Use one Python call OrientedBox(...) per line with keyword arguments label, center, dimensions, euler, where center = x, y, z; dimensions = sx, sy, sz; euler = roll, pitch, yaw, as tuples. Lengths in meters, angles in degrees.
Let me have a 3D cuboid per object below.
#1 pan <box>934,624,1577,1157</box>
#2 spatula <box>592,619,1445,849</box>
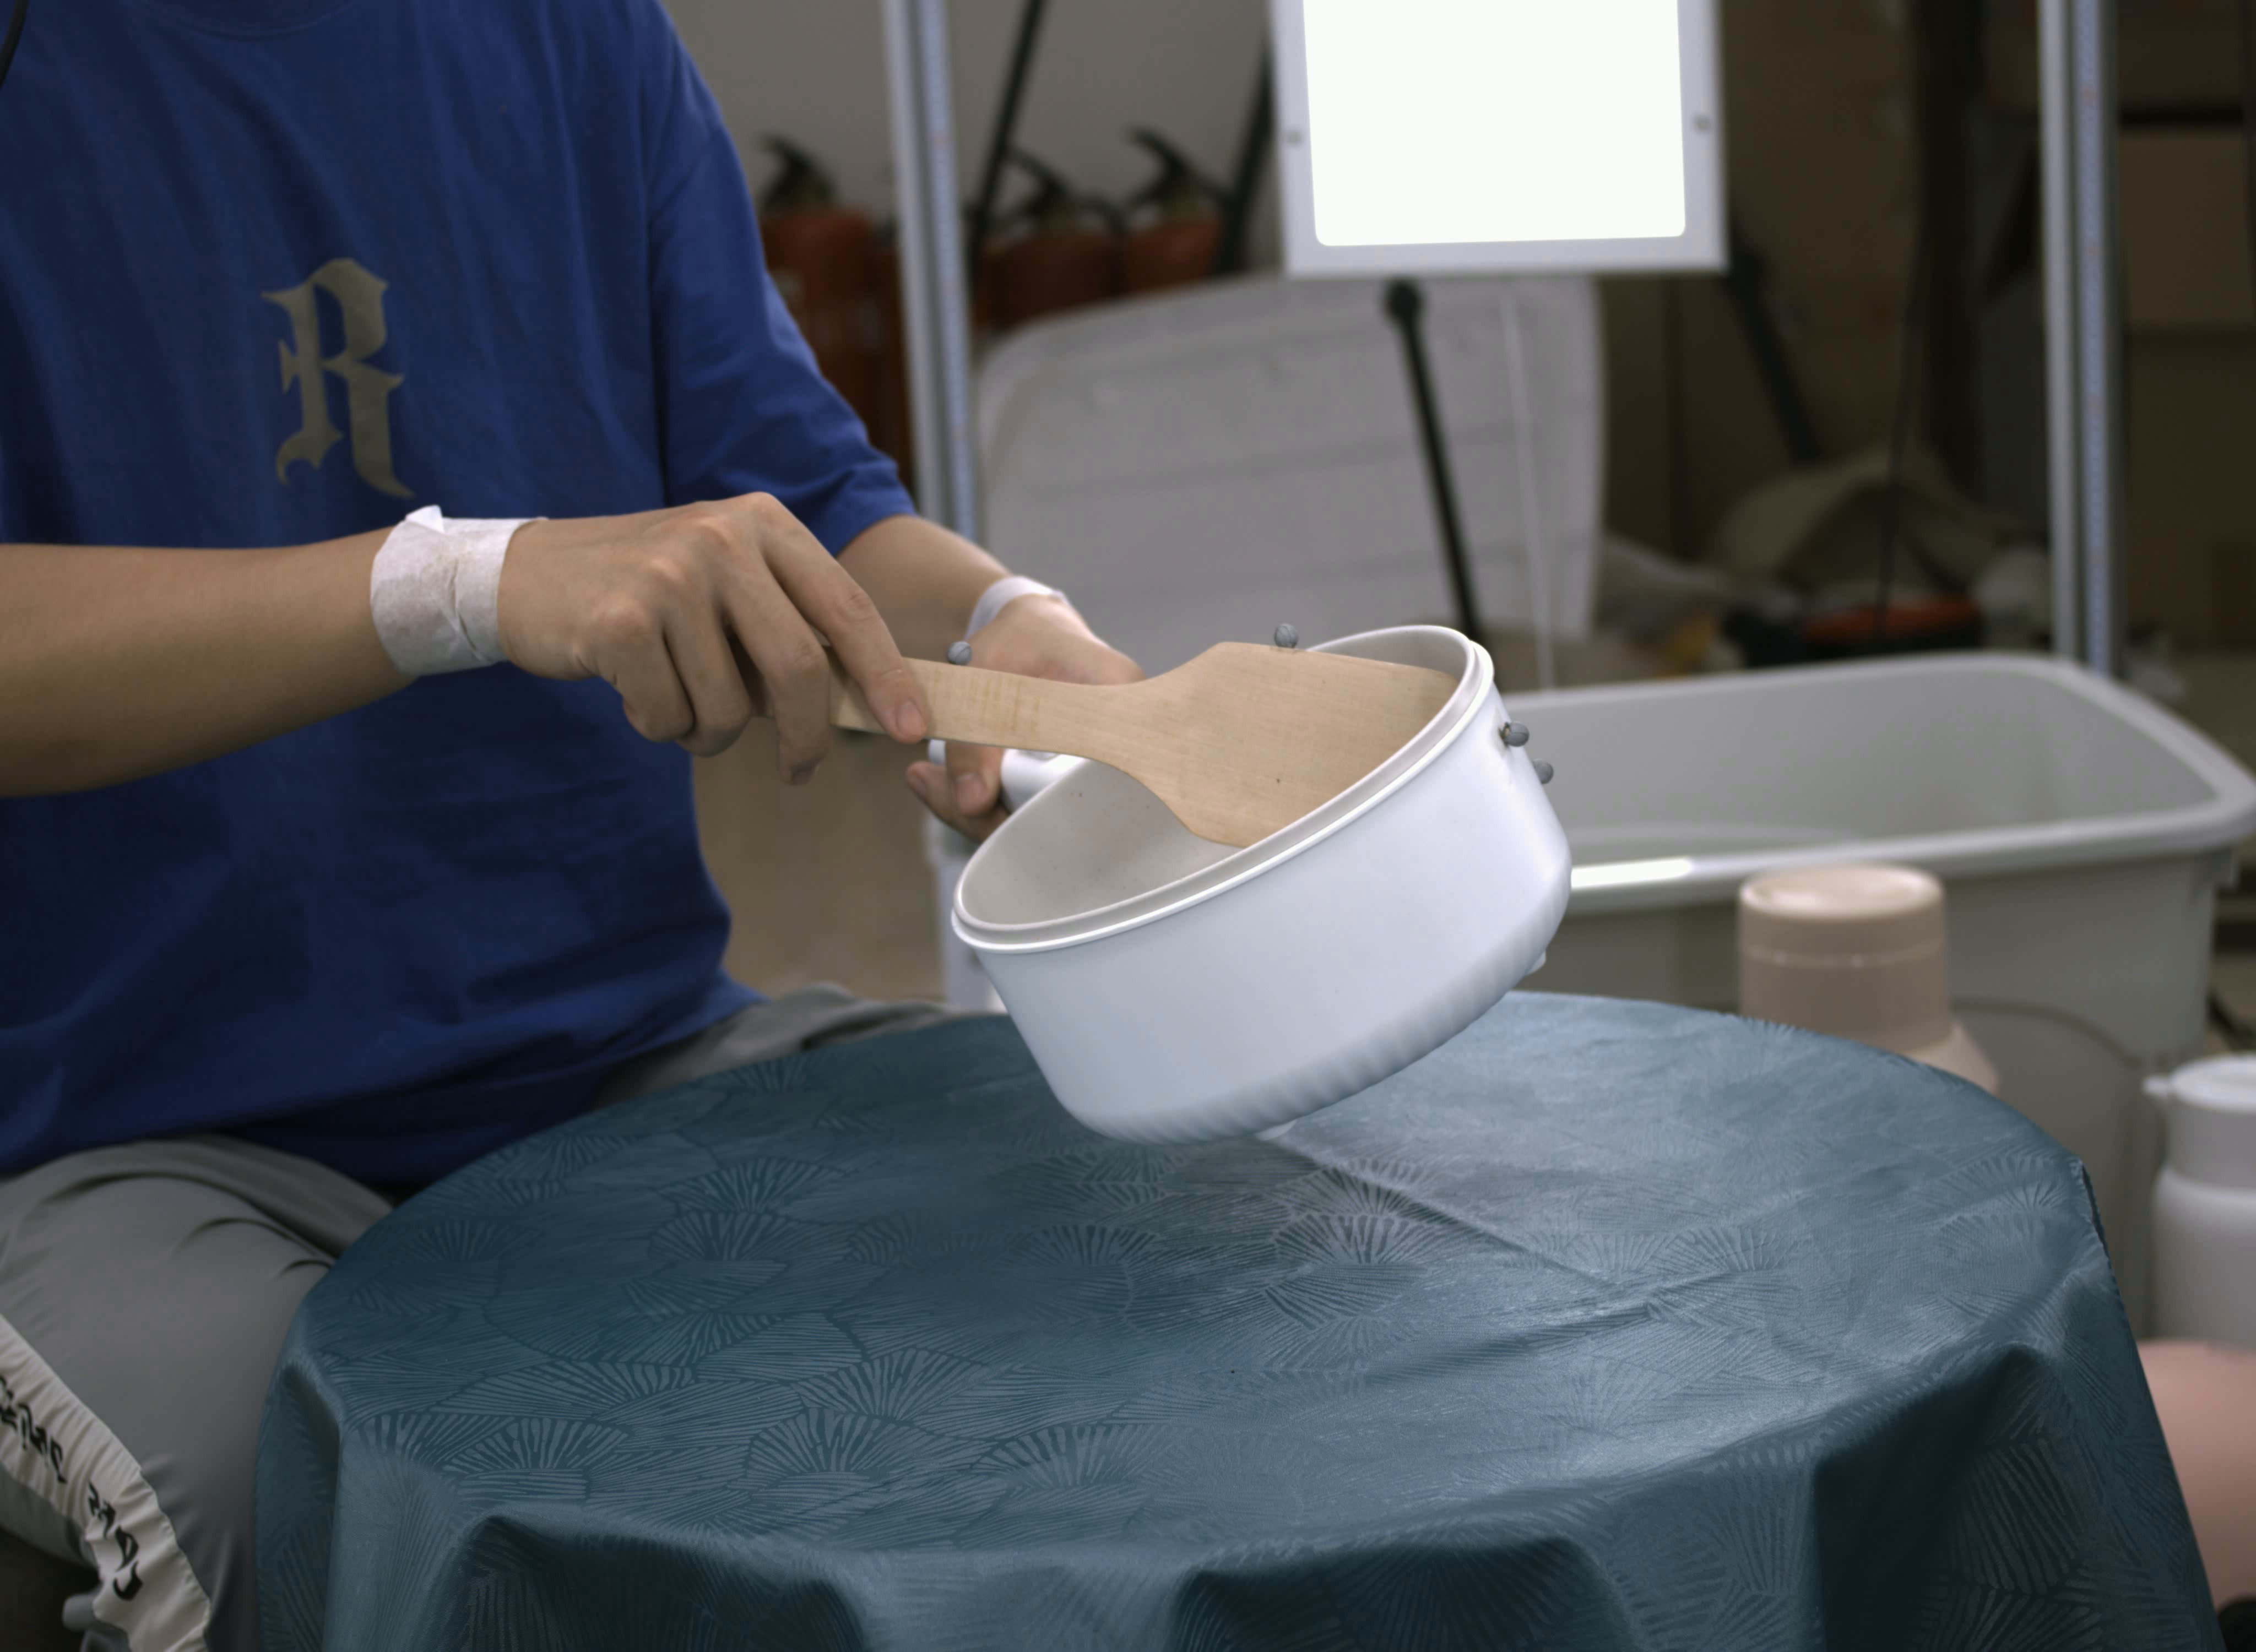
OrientedBox(label="pan", center=(0.024, 0.018, 1.921), dimensions=(0.199, 0.102, 0.360), euler=(-35, 17, -14))
OrientedBox(label="spatula", center=(-0.039, -0.040, 1.863), dimensions=(0.294, 0.072, 0.010), euler=(8, -2, 10))
